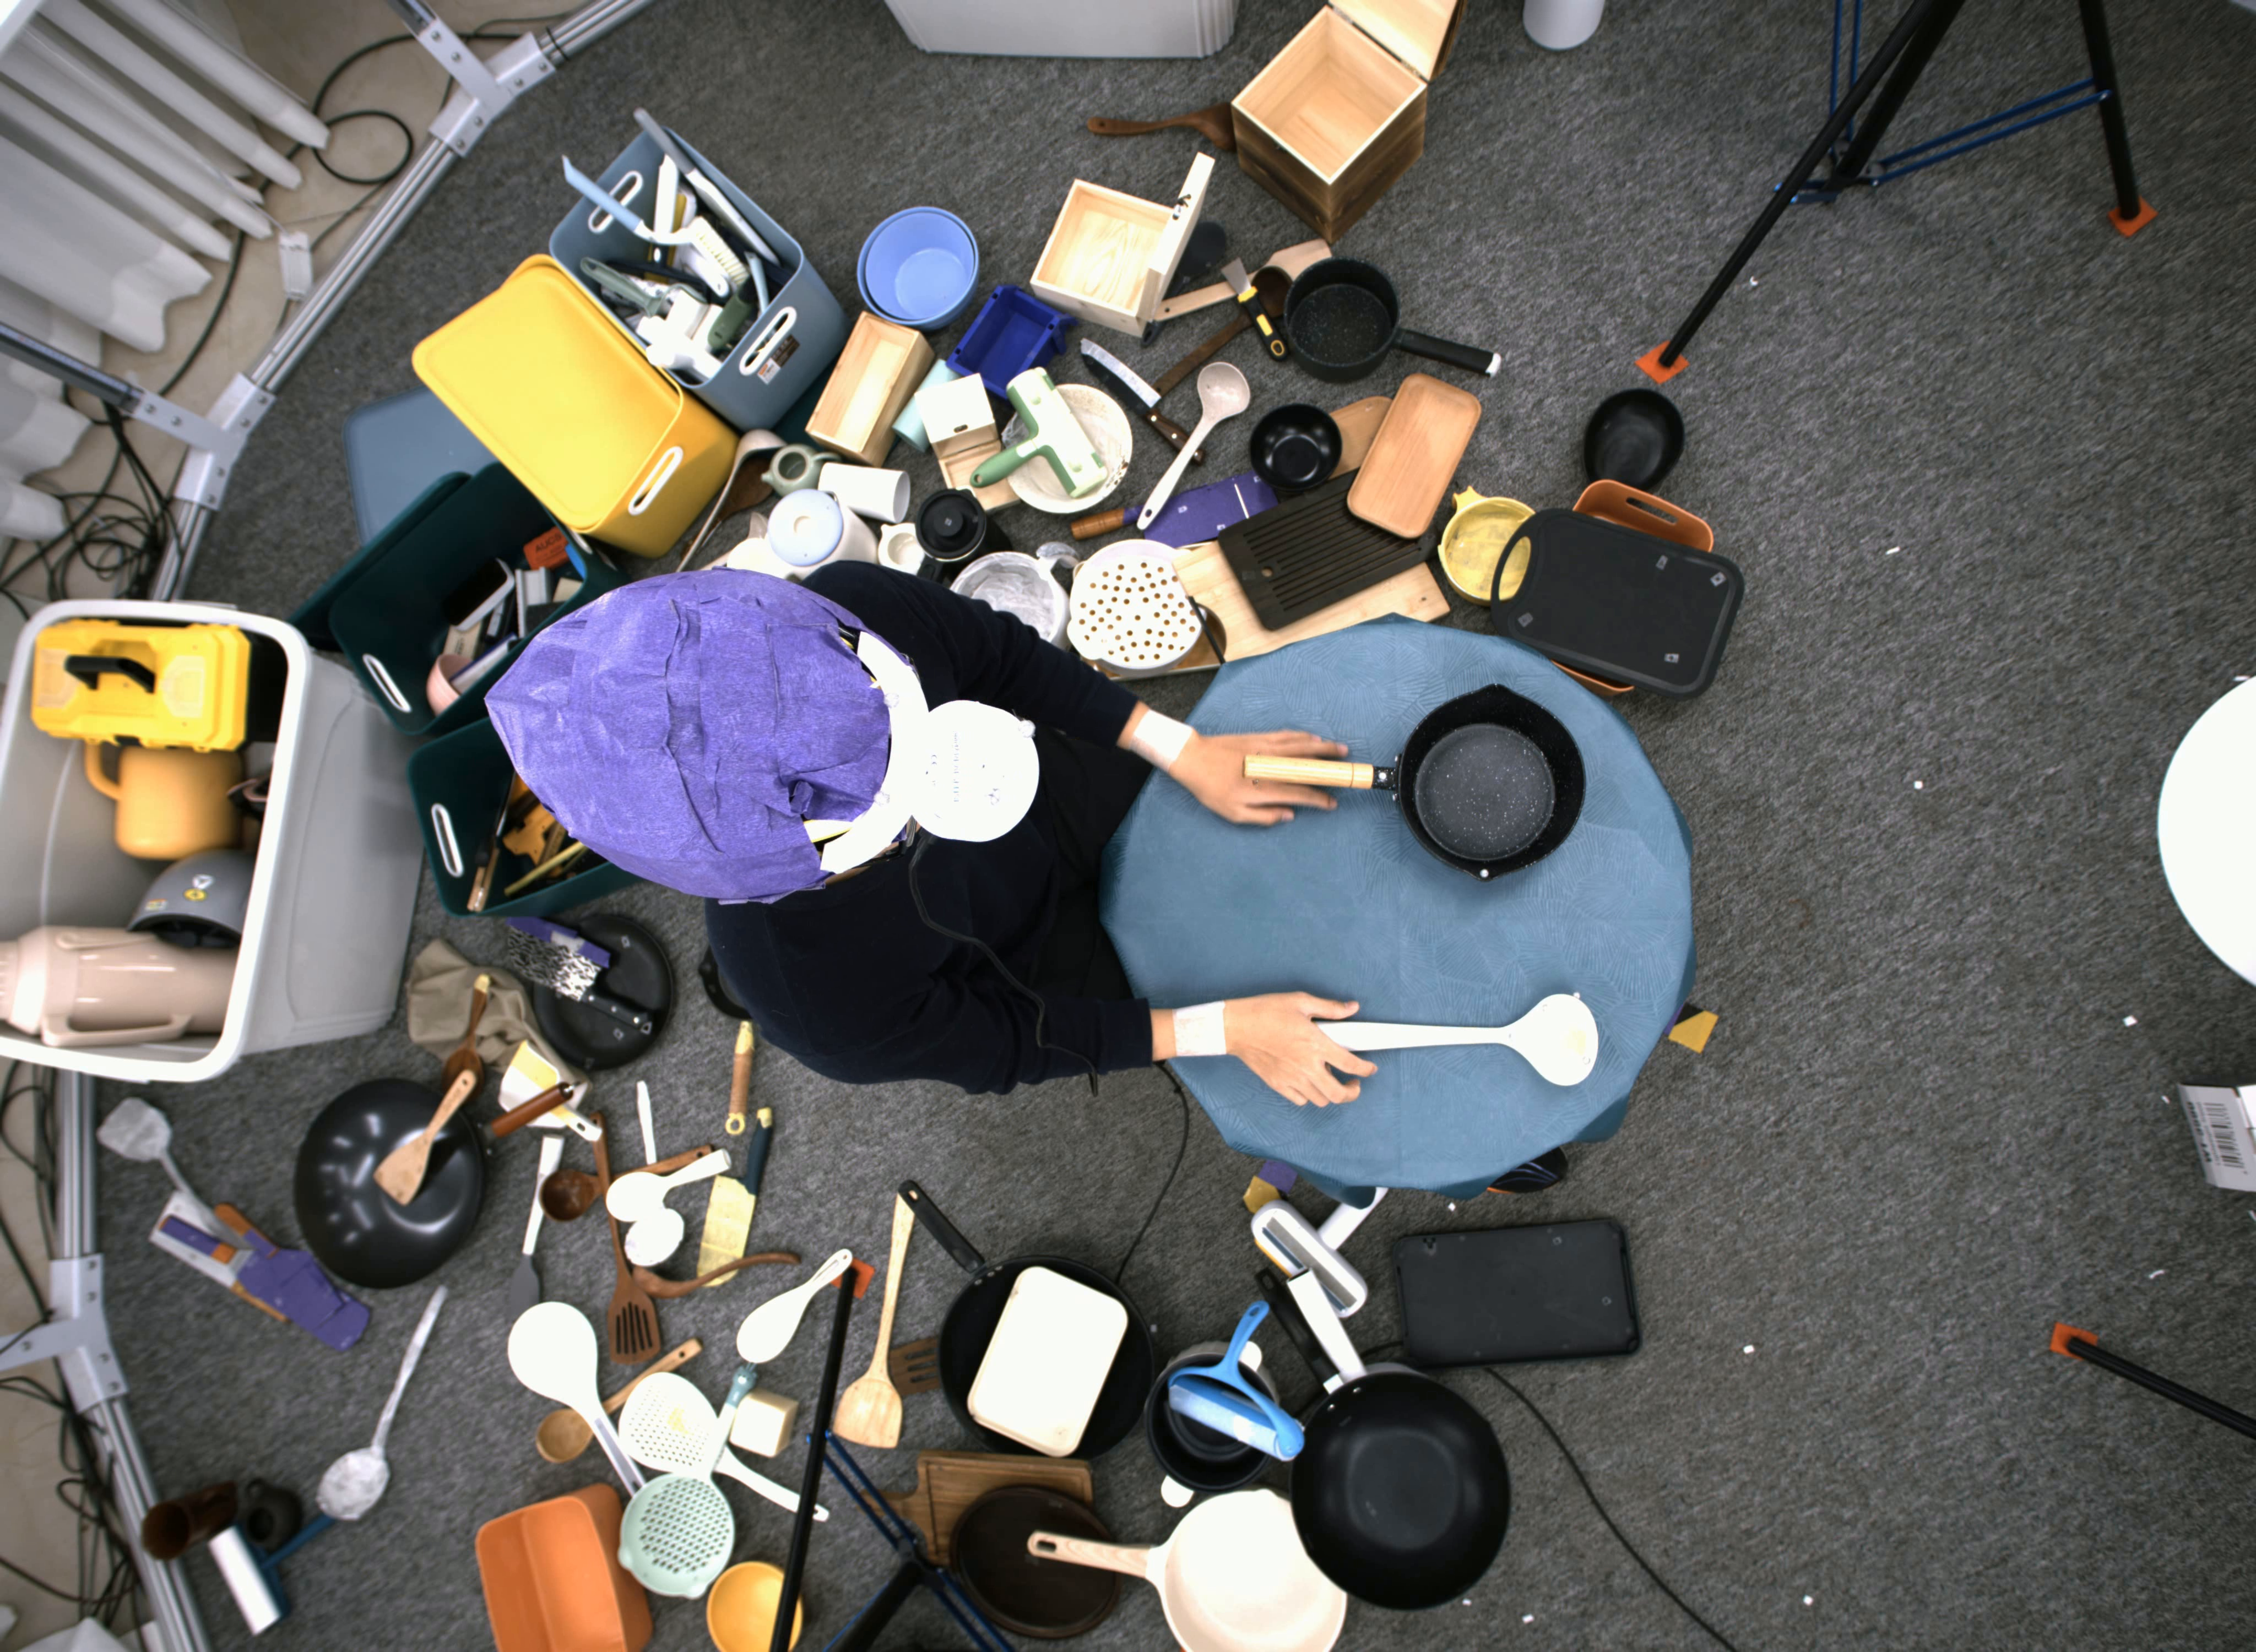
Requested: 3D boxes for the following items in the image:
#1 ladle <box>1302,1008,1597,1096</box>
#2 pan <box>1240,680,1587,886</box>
[{"bbox_3d":[0.323,0.223,1.410,0.294,0.069,0.091,0,98,11],"label":"ladle"},{"bbox_3d":[0.288,-0.046,1.408,0.344,0.108,0.207,2,88,9],"label":"pan"}]
